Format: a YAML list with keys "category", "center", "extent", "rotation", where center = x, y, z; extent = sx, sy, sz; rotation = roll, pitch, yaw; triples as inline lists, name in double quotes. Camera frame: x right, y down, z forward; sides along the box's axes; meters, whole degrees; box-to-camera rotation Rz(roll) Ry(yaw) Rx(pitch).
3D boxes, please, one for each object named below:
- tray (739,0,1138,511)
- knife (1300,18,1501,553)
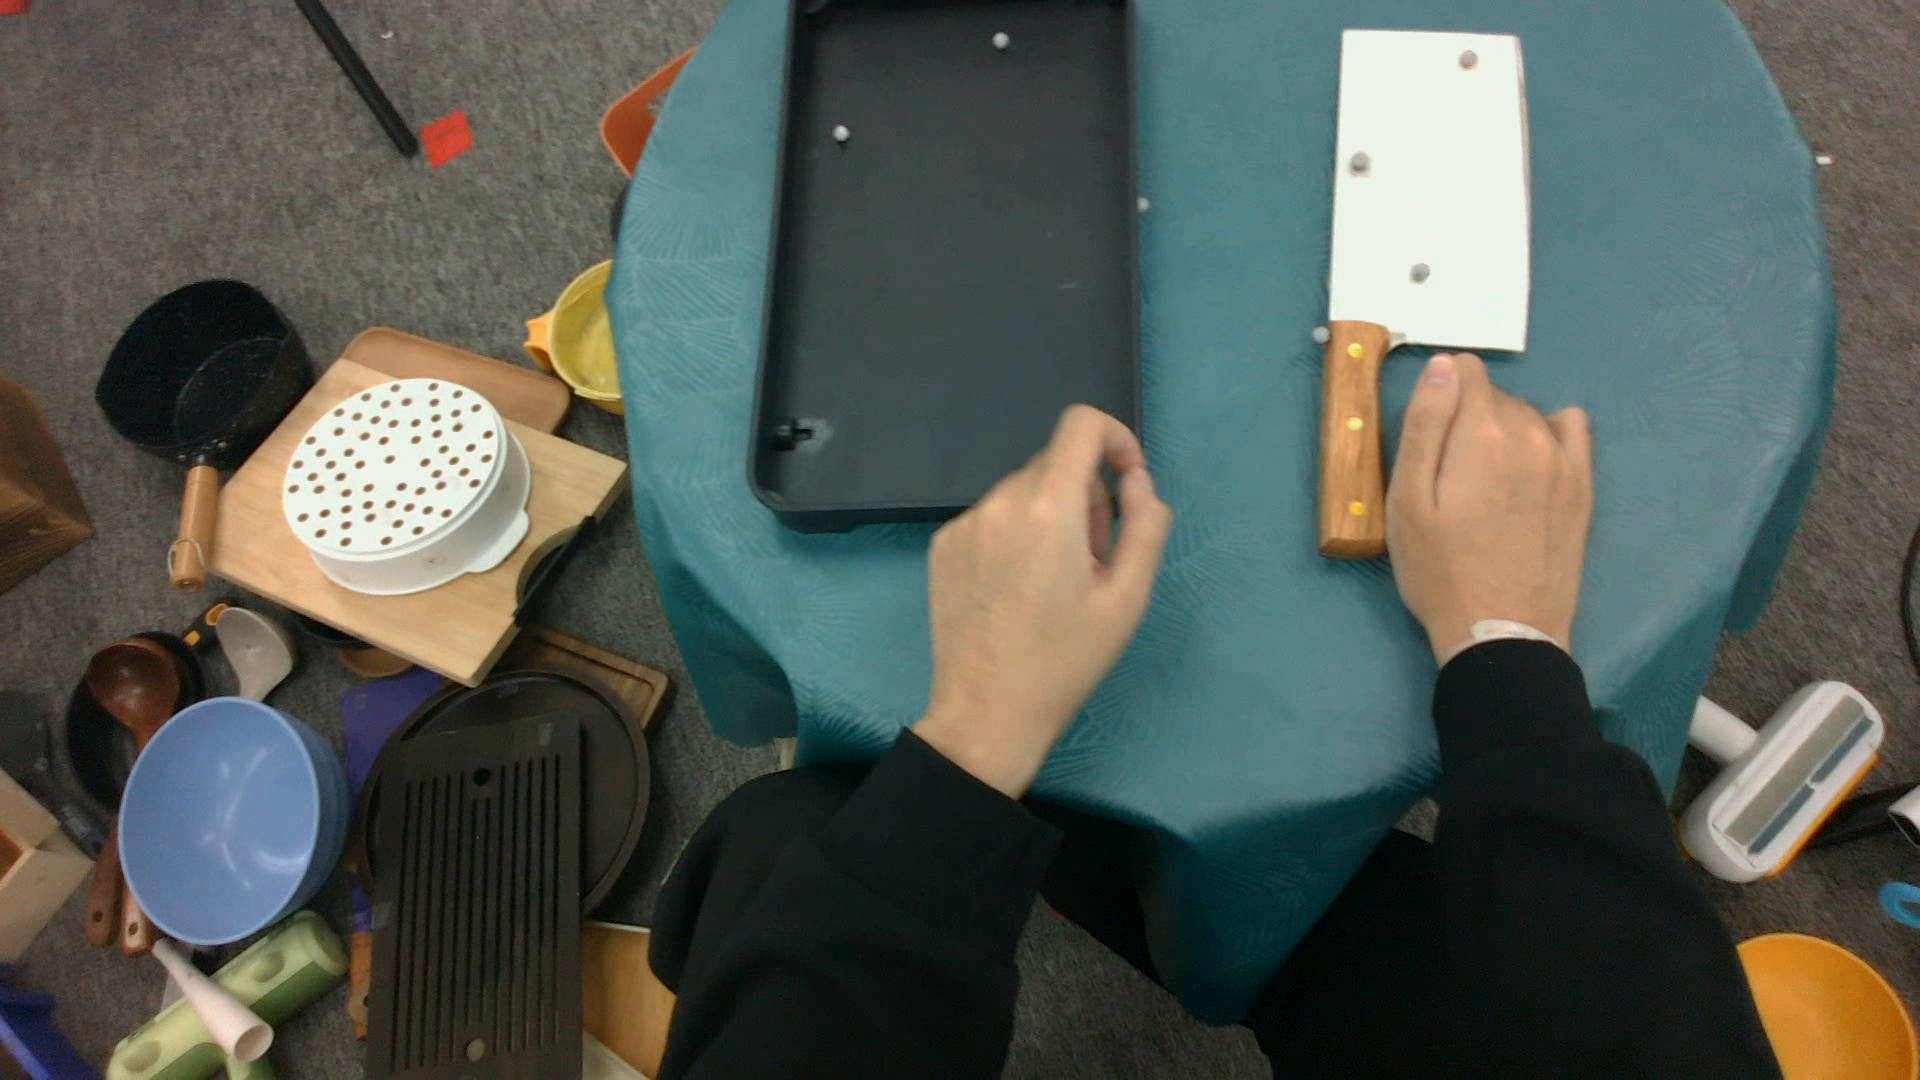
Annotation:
- category: "tray"
  center: [-0.013, -0.169, 0.692]
  extent: [0.184, 0.037, 0.319]
  rotation: [-3, 69, 5]
- category: "knife"
  center: [0.212, -0.134, 0.664]
  extent: [0.093, 0.021, 0.307]
  rotation: [4, 67, 6]
